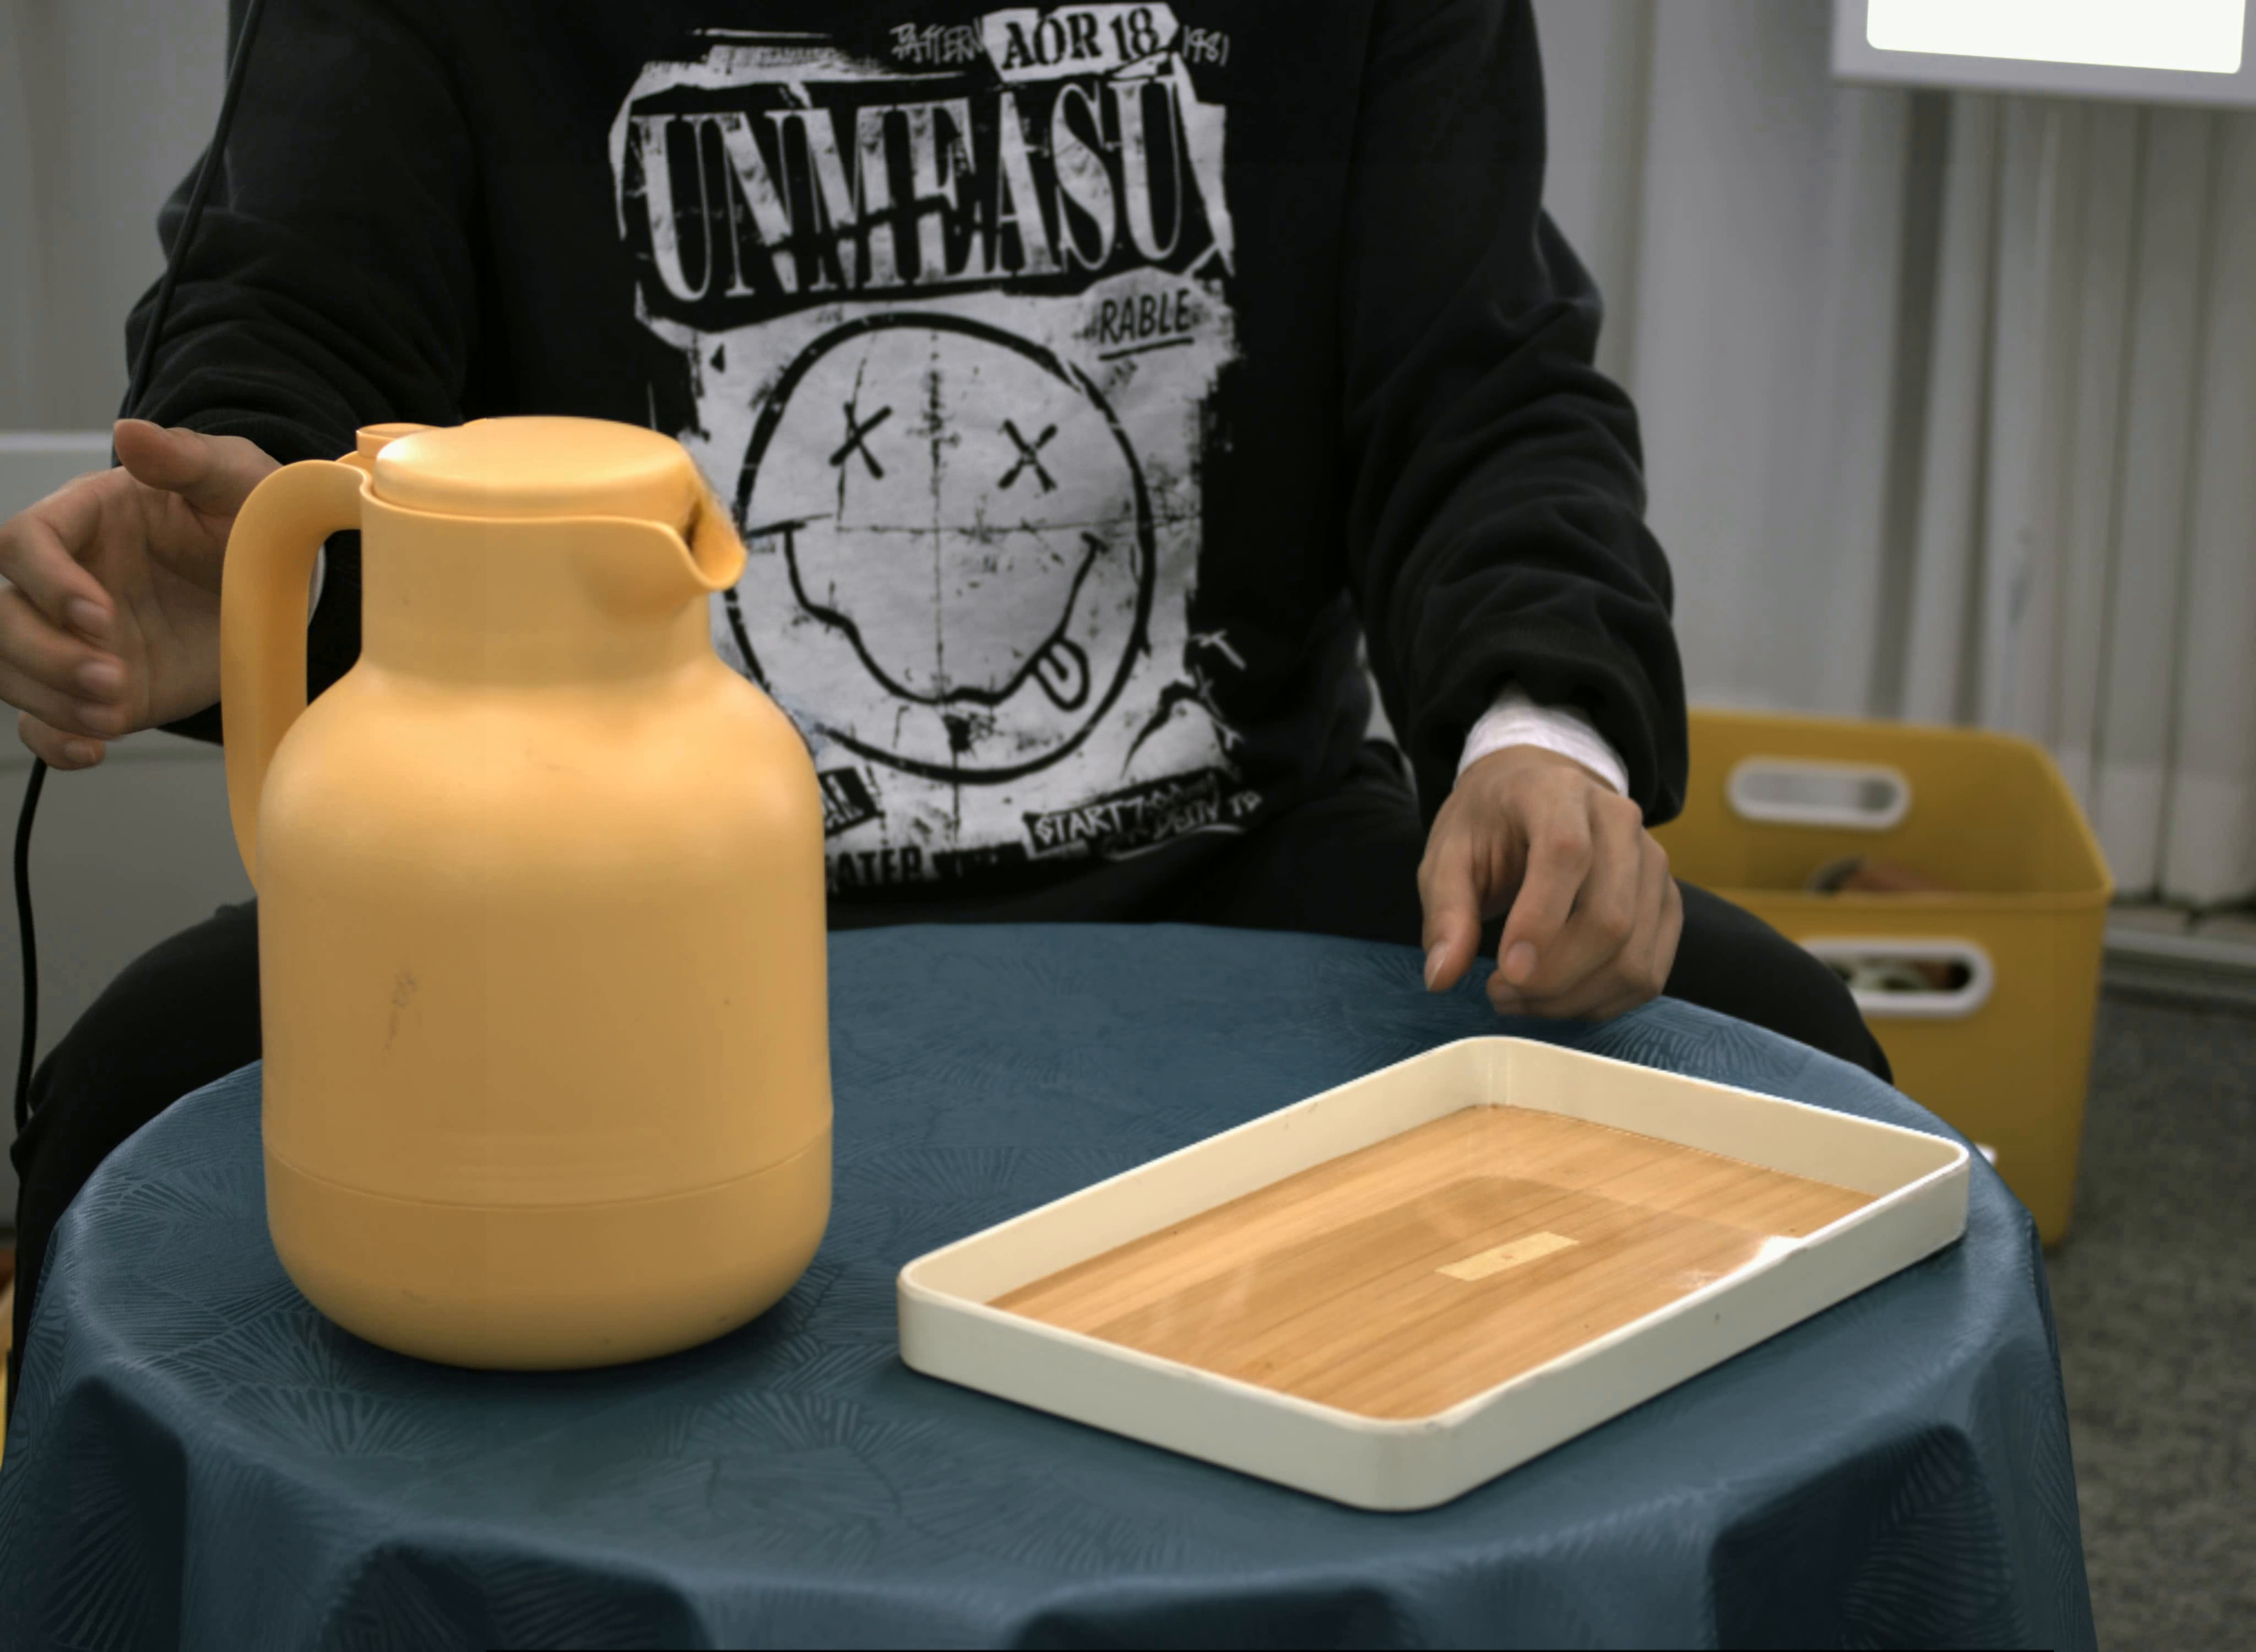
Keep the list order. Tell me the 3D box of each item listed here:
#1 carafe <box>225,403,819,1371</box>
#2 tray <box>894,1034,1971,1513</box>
[{"bbox_3d":[-0.181,0.009,1.498,0.199,0.262,0.164,16,20,39],"label":"carafe"},{"bbox_3d":[0.094,0.124,1.534,0.189,0.027,0.301,13,20,37],"label":"tray"}]
